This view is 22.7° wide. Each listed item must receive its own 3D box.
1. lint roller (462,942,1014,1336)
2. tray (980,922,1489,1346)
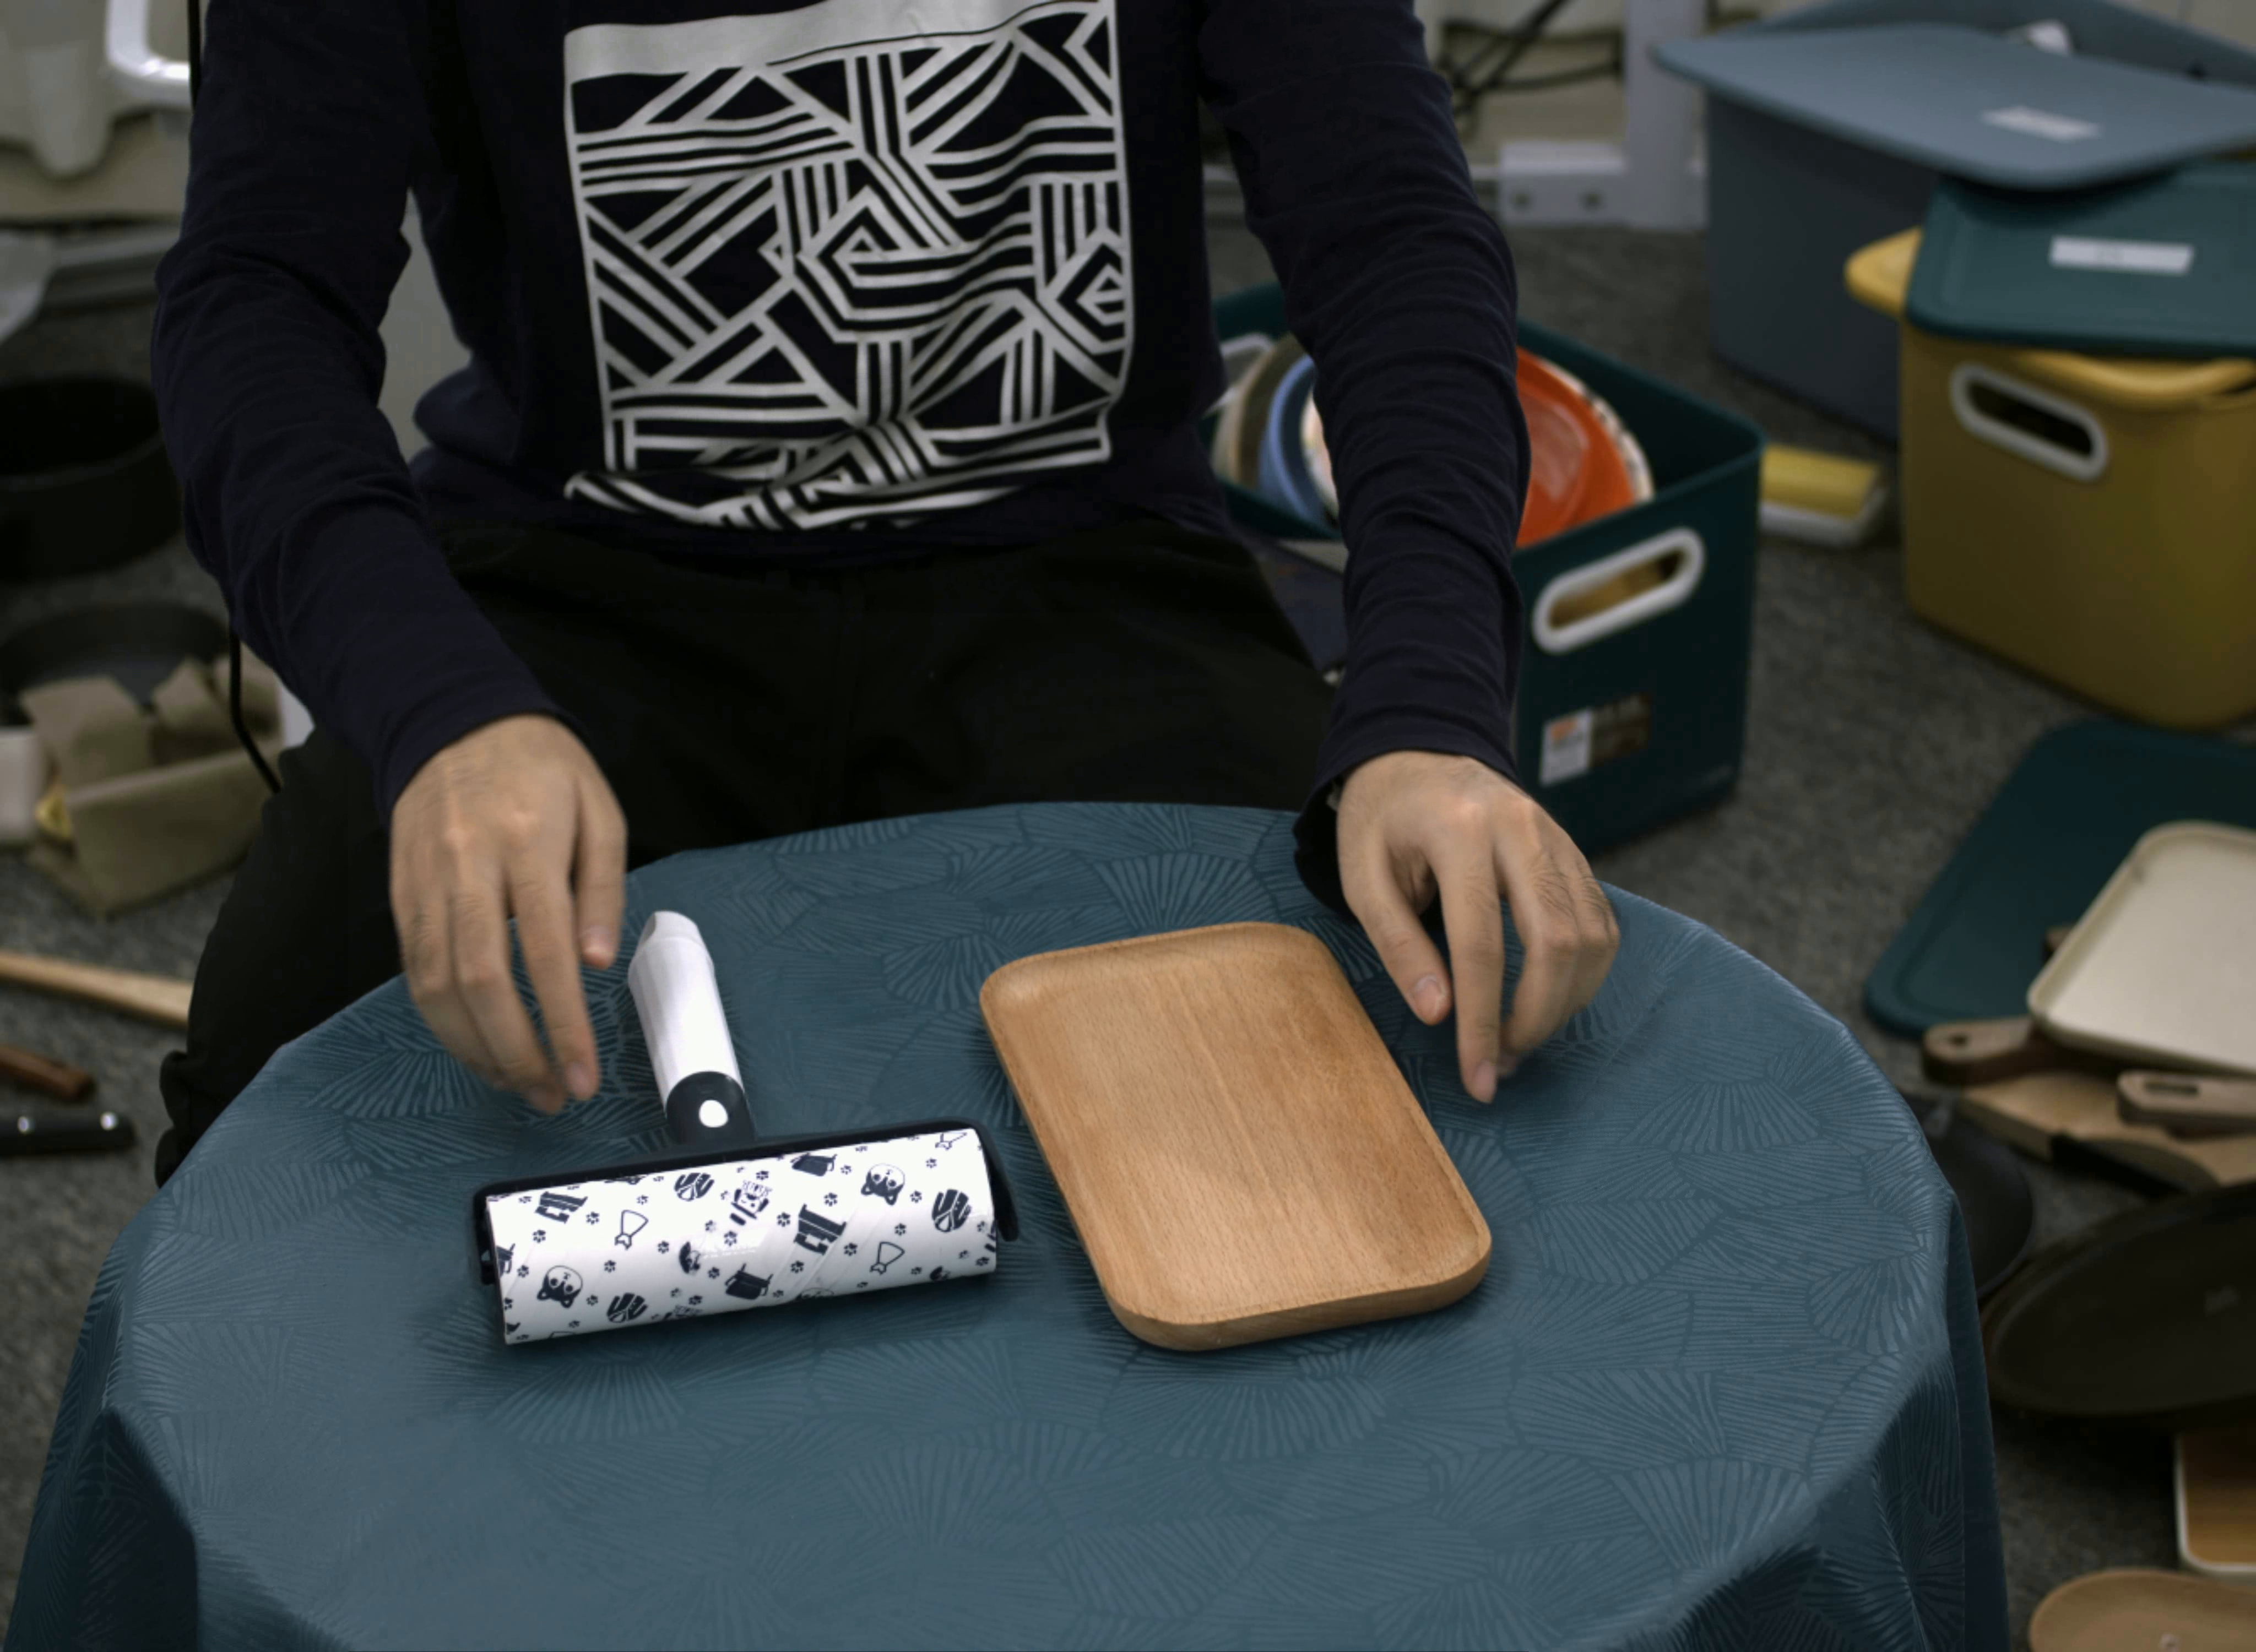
[{"bbox_3d":[-0.146,0.090,1.894,0.176,0.050,0.249,-8,25,-9],"label":"lint roller"},{"bbox_3d":[0.032,0.100,1.882,0.130,0.022,0.253,-5,26,-11],"label":"tray"}]
